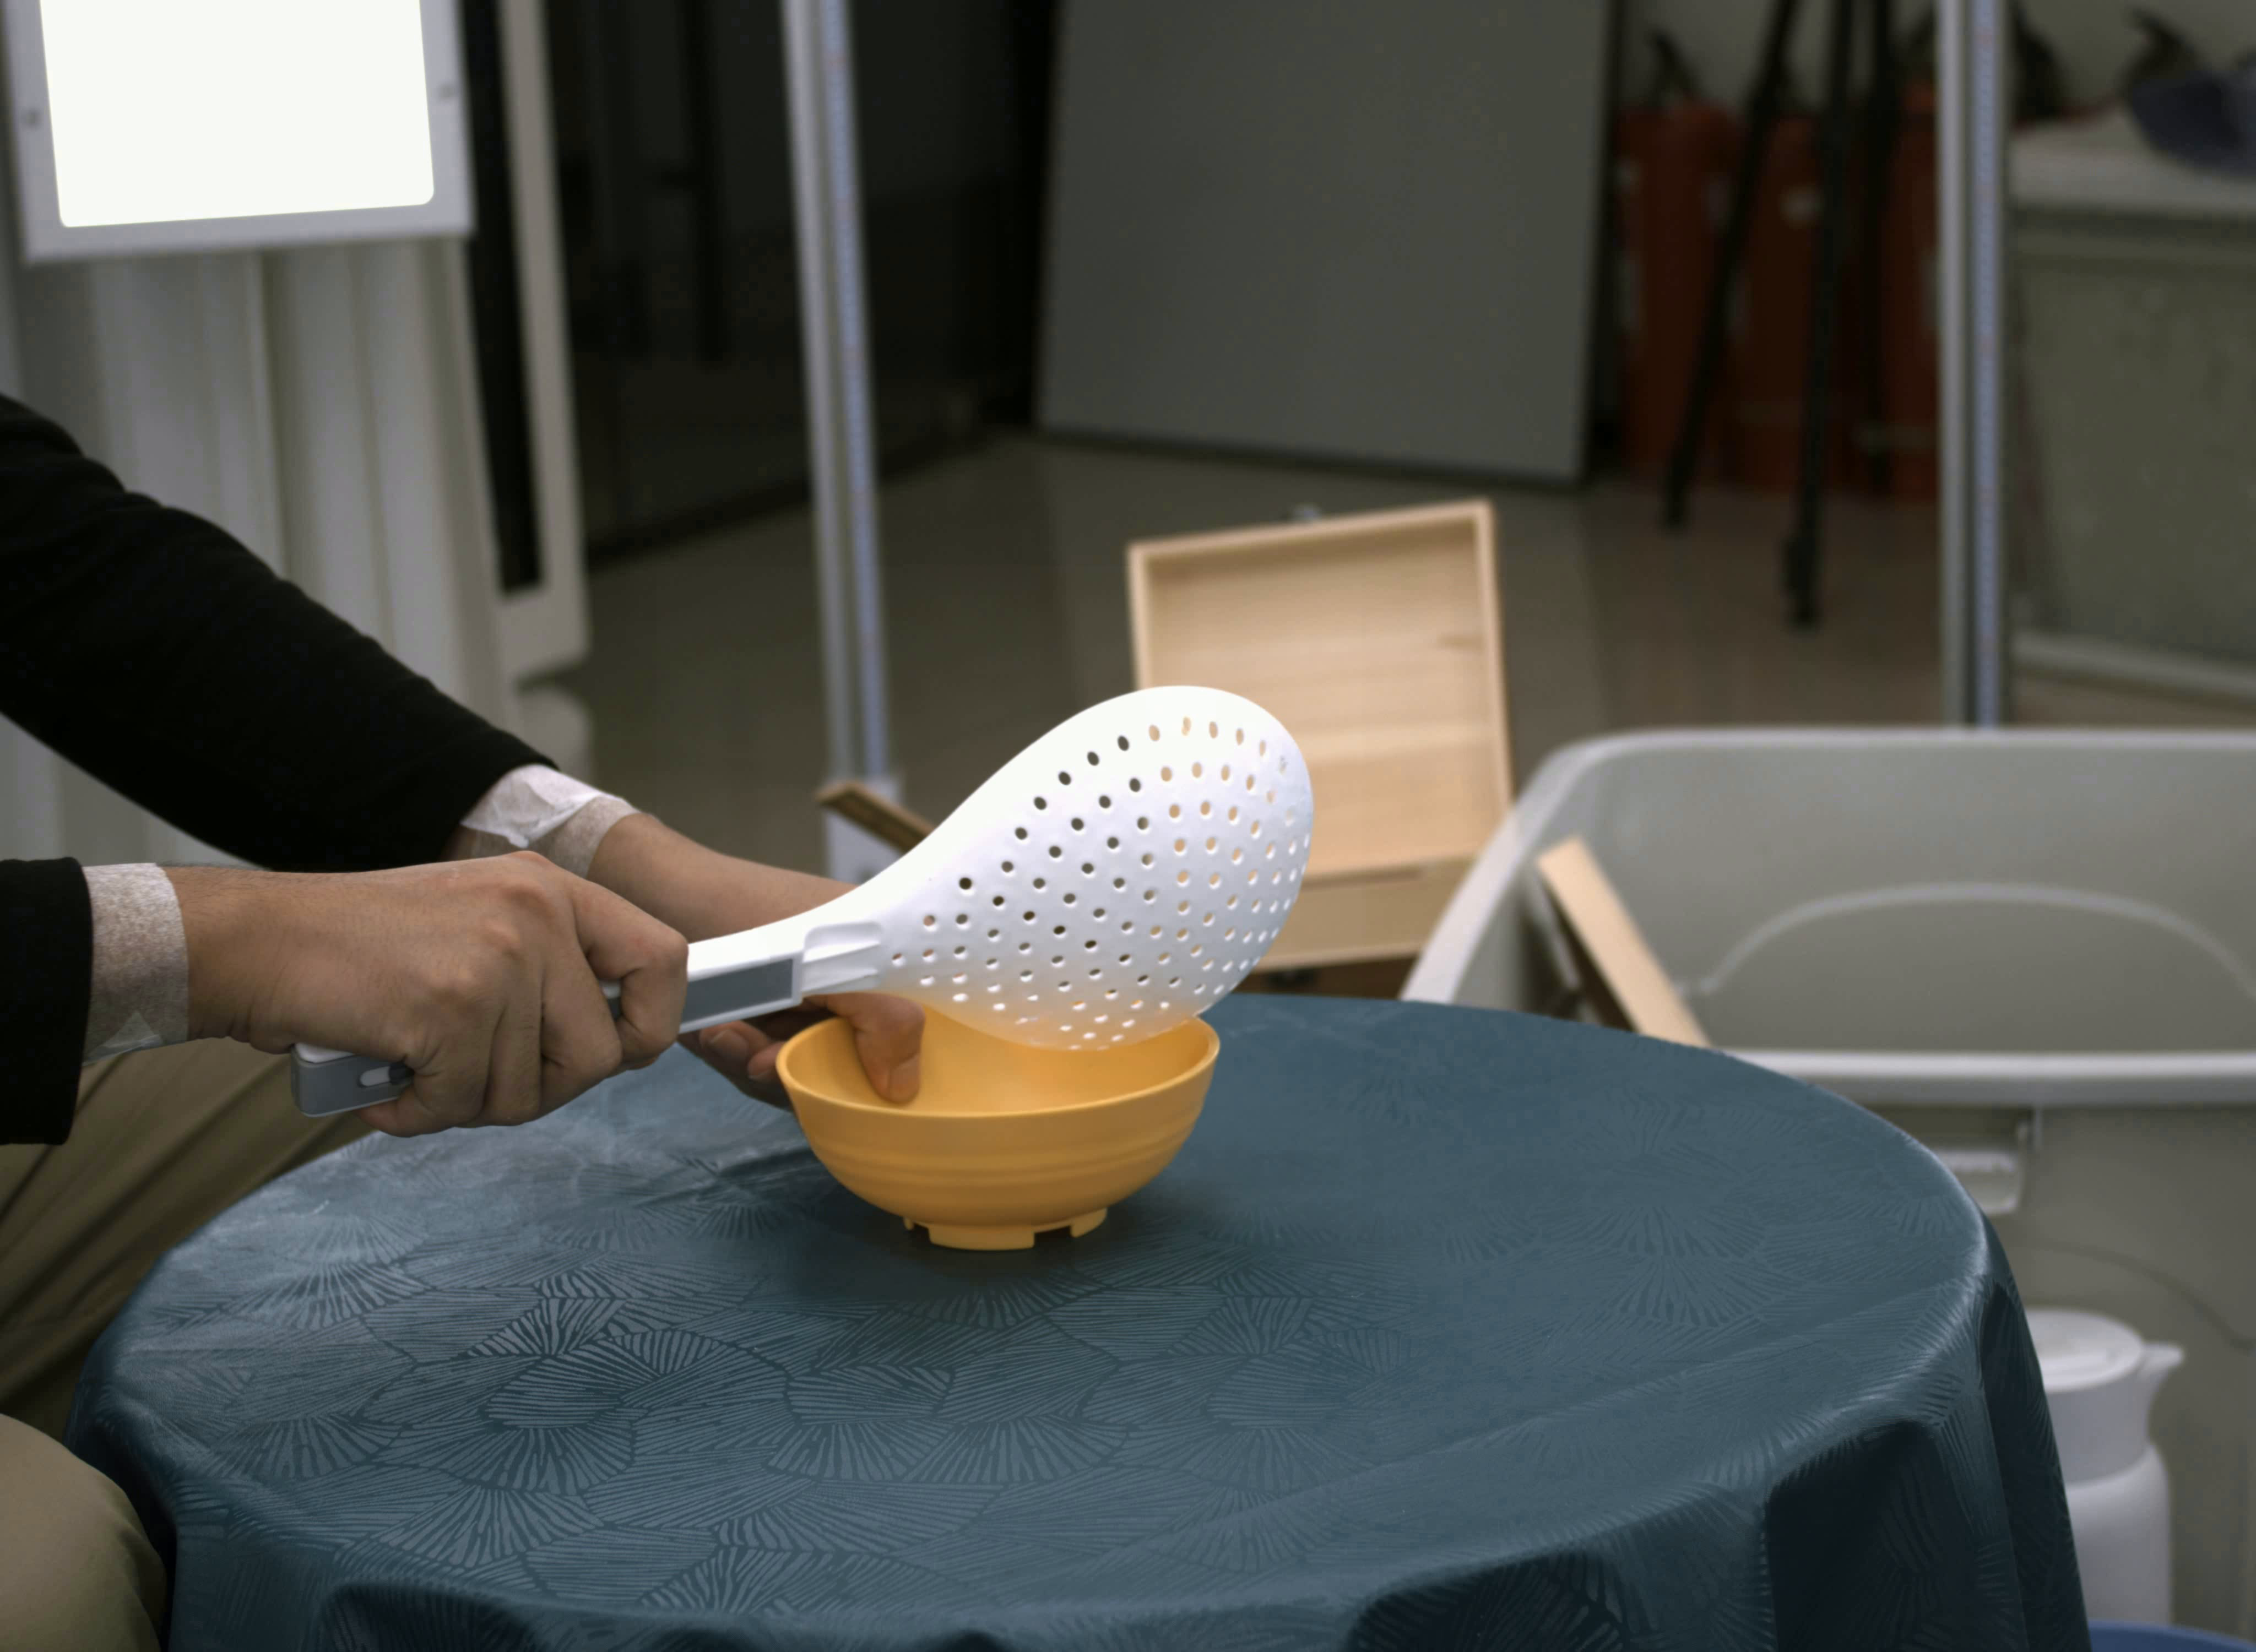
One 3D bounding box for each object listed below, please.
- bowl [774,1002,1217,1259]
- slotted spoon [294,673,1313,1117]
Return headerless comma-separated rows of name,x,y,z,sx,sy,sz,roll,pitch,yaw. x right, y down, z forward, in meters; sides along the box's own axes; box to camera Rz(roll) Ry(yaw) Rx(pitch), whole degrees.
bowl,-0.042,0.102,1.741,0.143,0.061,0.145,-1,12,-1
slotted spoon,-0.092,0.038,1.670,0.342,0.137,0.046,-10,33,-20
